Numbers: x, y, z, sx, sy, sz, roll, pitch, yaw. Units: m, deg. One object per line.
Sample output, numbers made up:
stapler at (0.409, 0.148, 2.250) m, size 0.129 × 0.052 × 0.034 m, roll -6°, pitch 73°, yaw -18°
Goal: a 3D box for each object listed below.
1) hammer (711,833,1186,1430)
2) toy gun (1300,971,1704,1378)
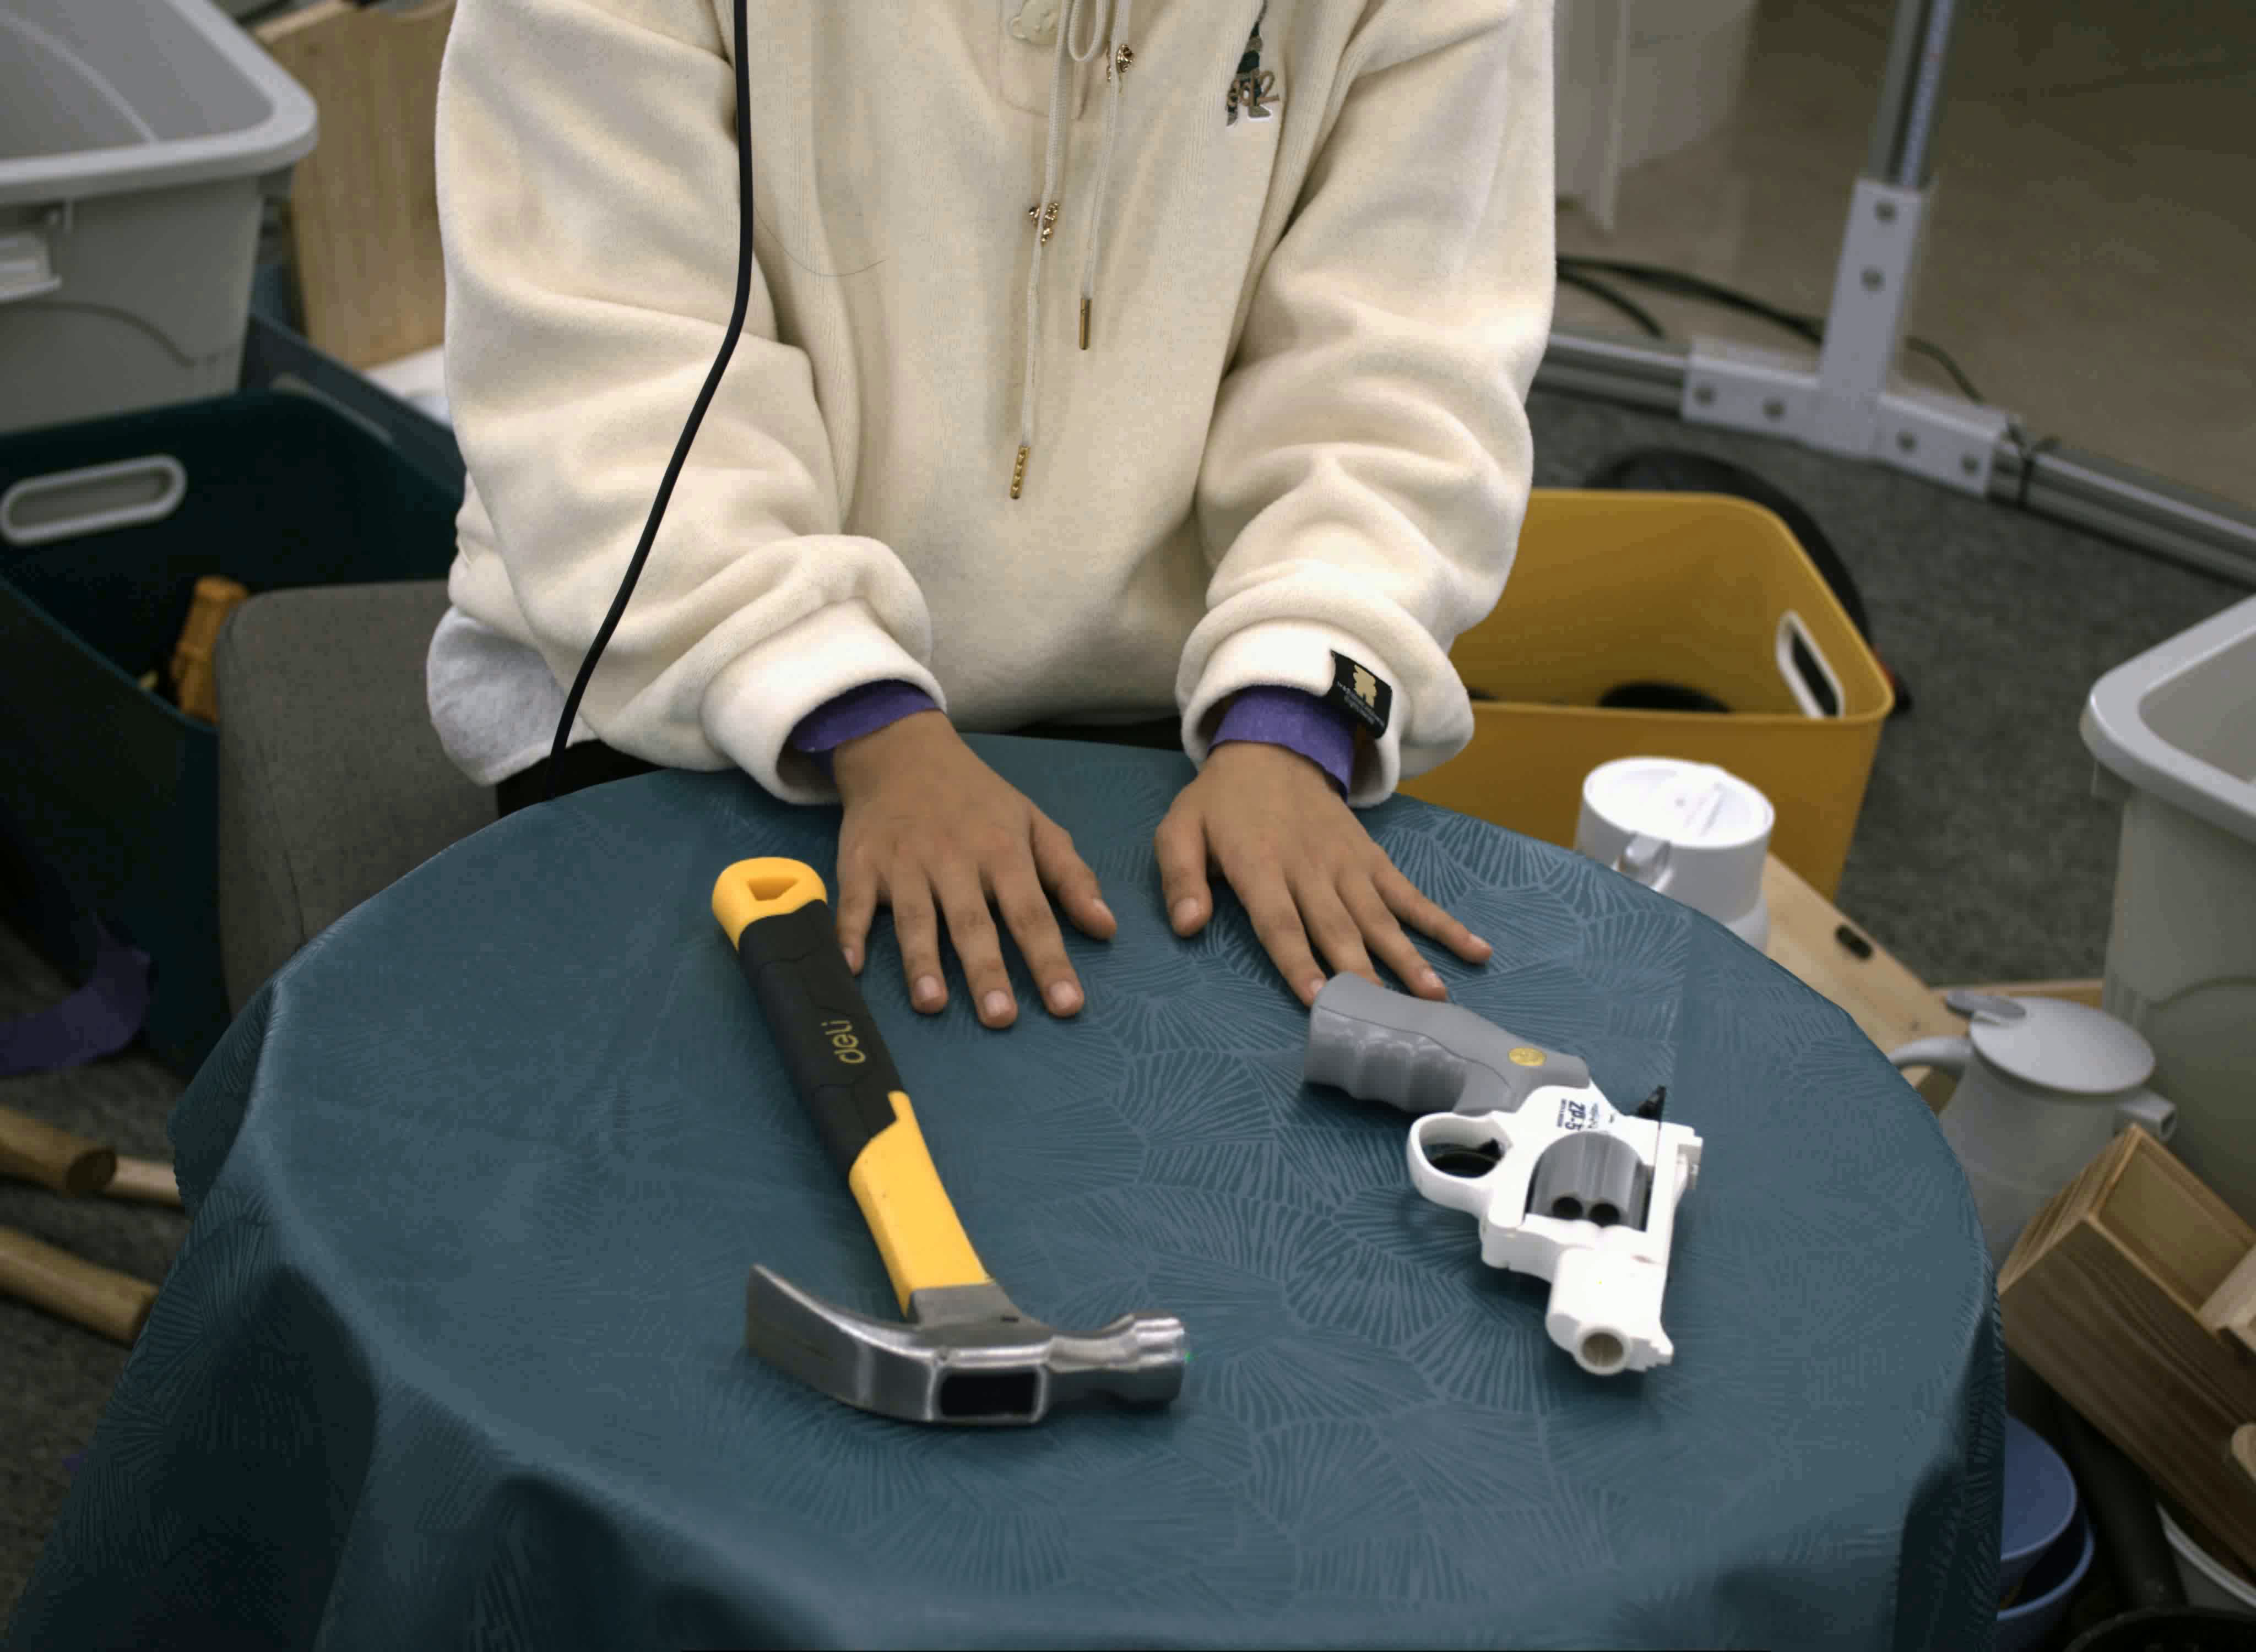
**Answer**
hammer at (-0.088, 0.095, 1.795) m, size 0.130 × 0.032 × 0.341 m, roll -4°, pitch 30°, yaw -16°
toy gun at (0.123, 0.115, 1.803) m, size 0.141 × 0.038 × 0.210 m, roll 9°, pitch 27°, yaw 3°
